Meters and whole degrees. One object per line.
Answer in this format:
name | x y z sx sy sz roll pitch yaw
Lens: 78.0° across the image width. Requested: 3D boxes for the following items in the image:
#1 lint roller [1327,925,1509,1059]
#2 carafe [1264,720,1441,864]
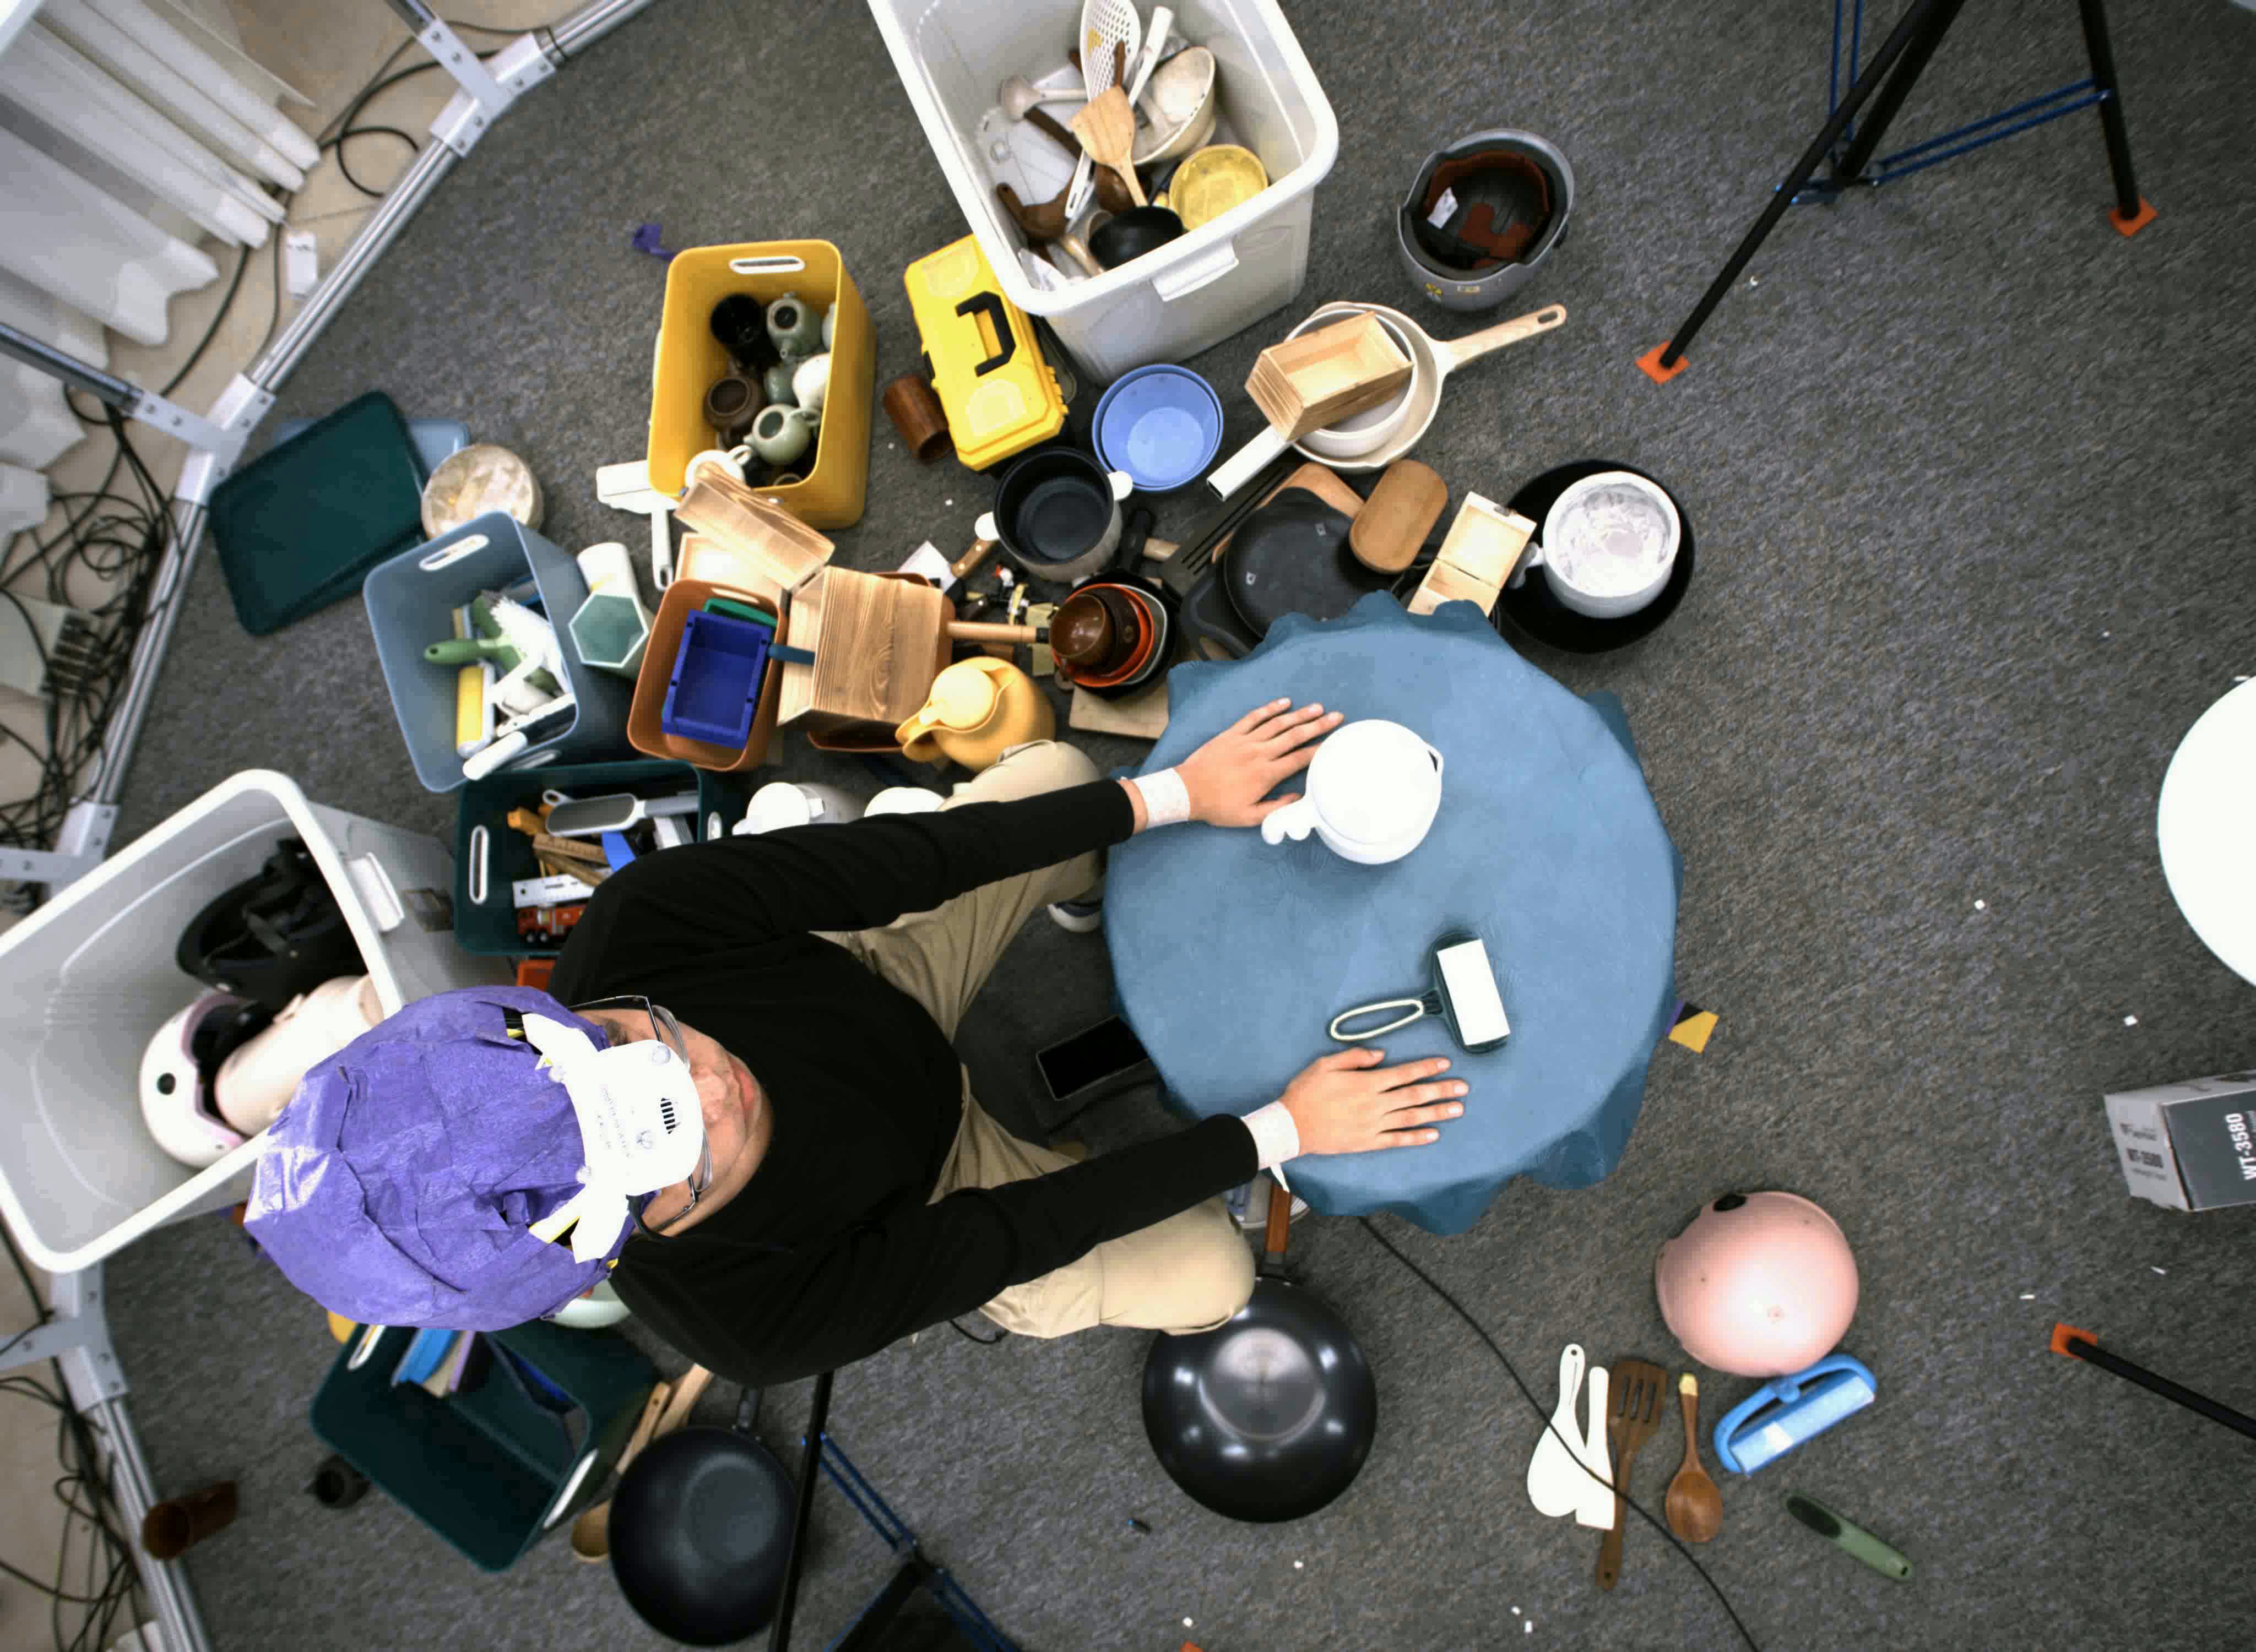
lint roller | 0.291 0.189 1.429 0.181 0.048 0.133 -18 84 12
carafe | 0.223 -0.024 1.387 0.192 0.182 0.131 -23 81 10
